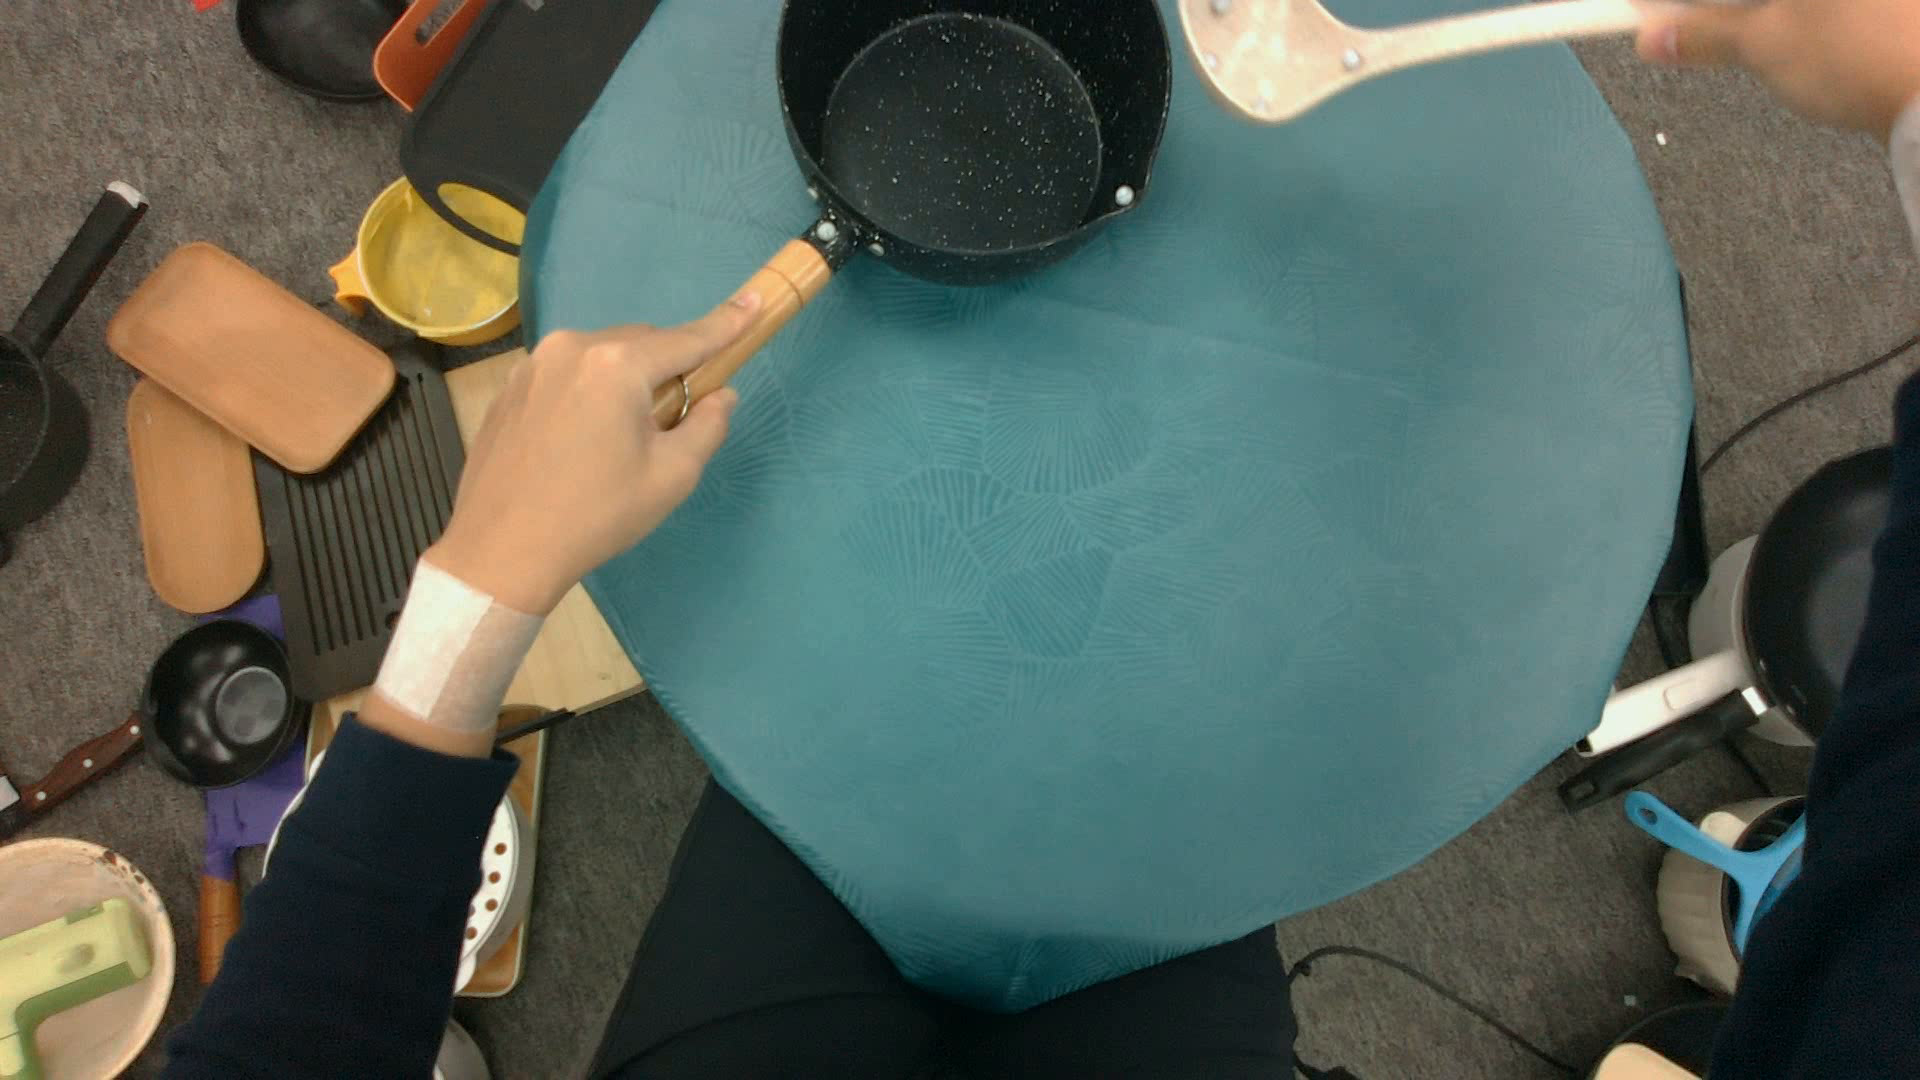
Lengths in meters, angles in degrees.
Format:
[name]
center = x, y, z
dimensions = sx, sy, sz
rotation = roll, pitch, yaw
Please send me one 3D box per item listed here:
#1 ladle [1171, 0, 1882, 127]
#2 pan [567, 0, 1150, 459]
[ladle]
center = 0.226, -0.225, 0.577
dimensions = 0.274, 0.069, 0.090
rotation = 1, 56, 28
[pan]
center = -0.053, -0.158, 0.653
dimensions = 0.207, 0.108, 0.343
rotation = 38, 77, 2
